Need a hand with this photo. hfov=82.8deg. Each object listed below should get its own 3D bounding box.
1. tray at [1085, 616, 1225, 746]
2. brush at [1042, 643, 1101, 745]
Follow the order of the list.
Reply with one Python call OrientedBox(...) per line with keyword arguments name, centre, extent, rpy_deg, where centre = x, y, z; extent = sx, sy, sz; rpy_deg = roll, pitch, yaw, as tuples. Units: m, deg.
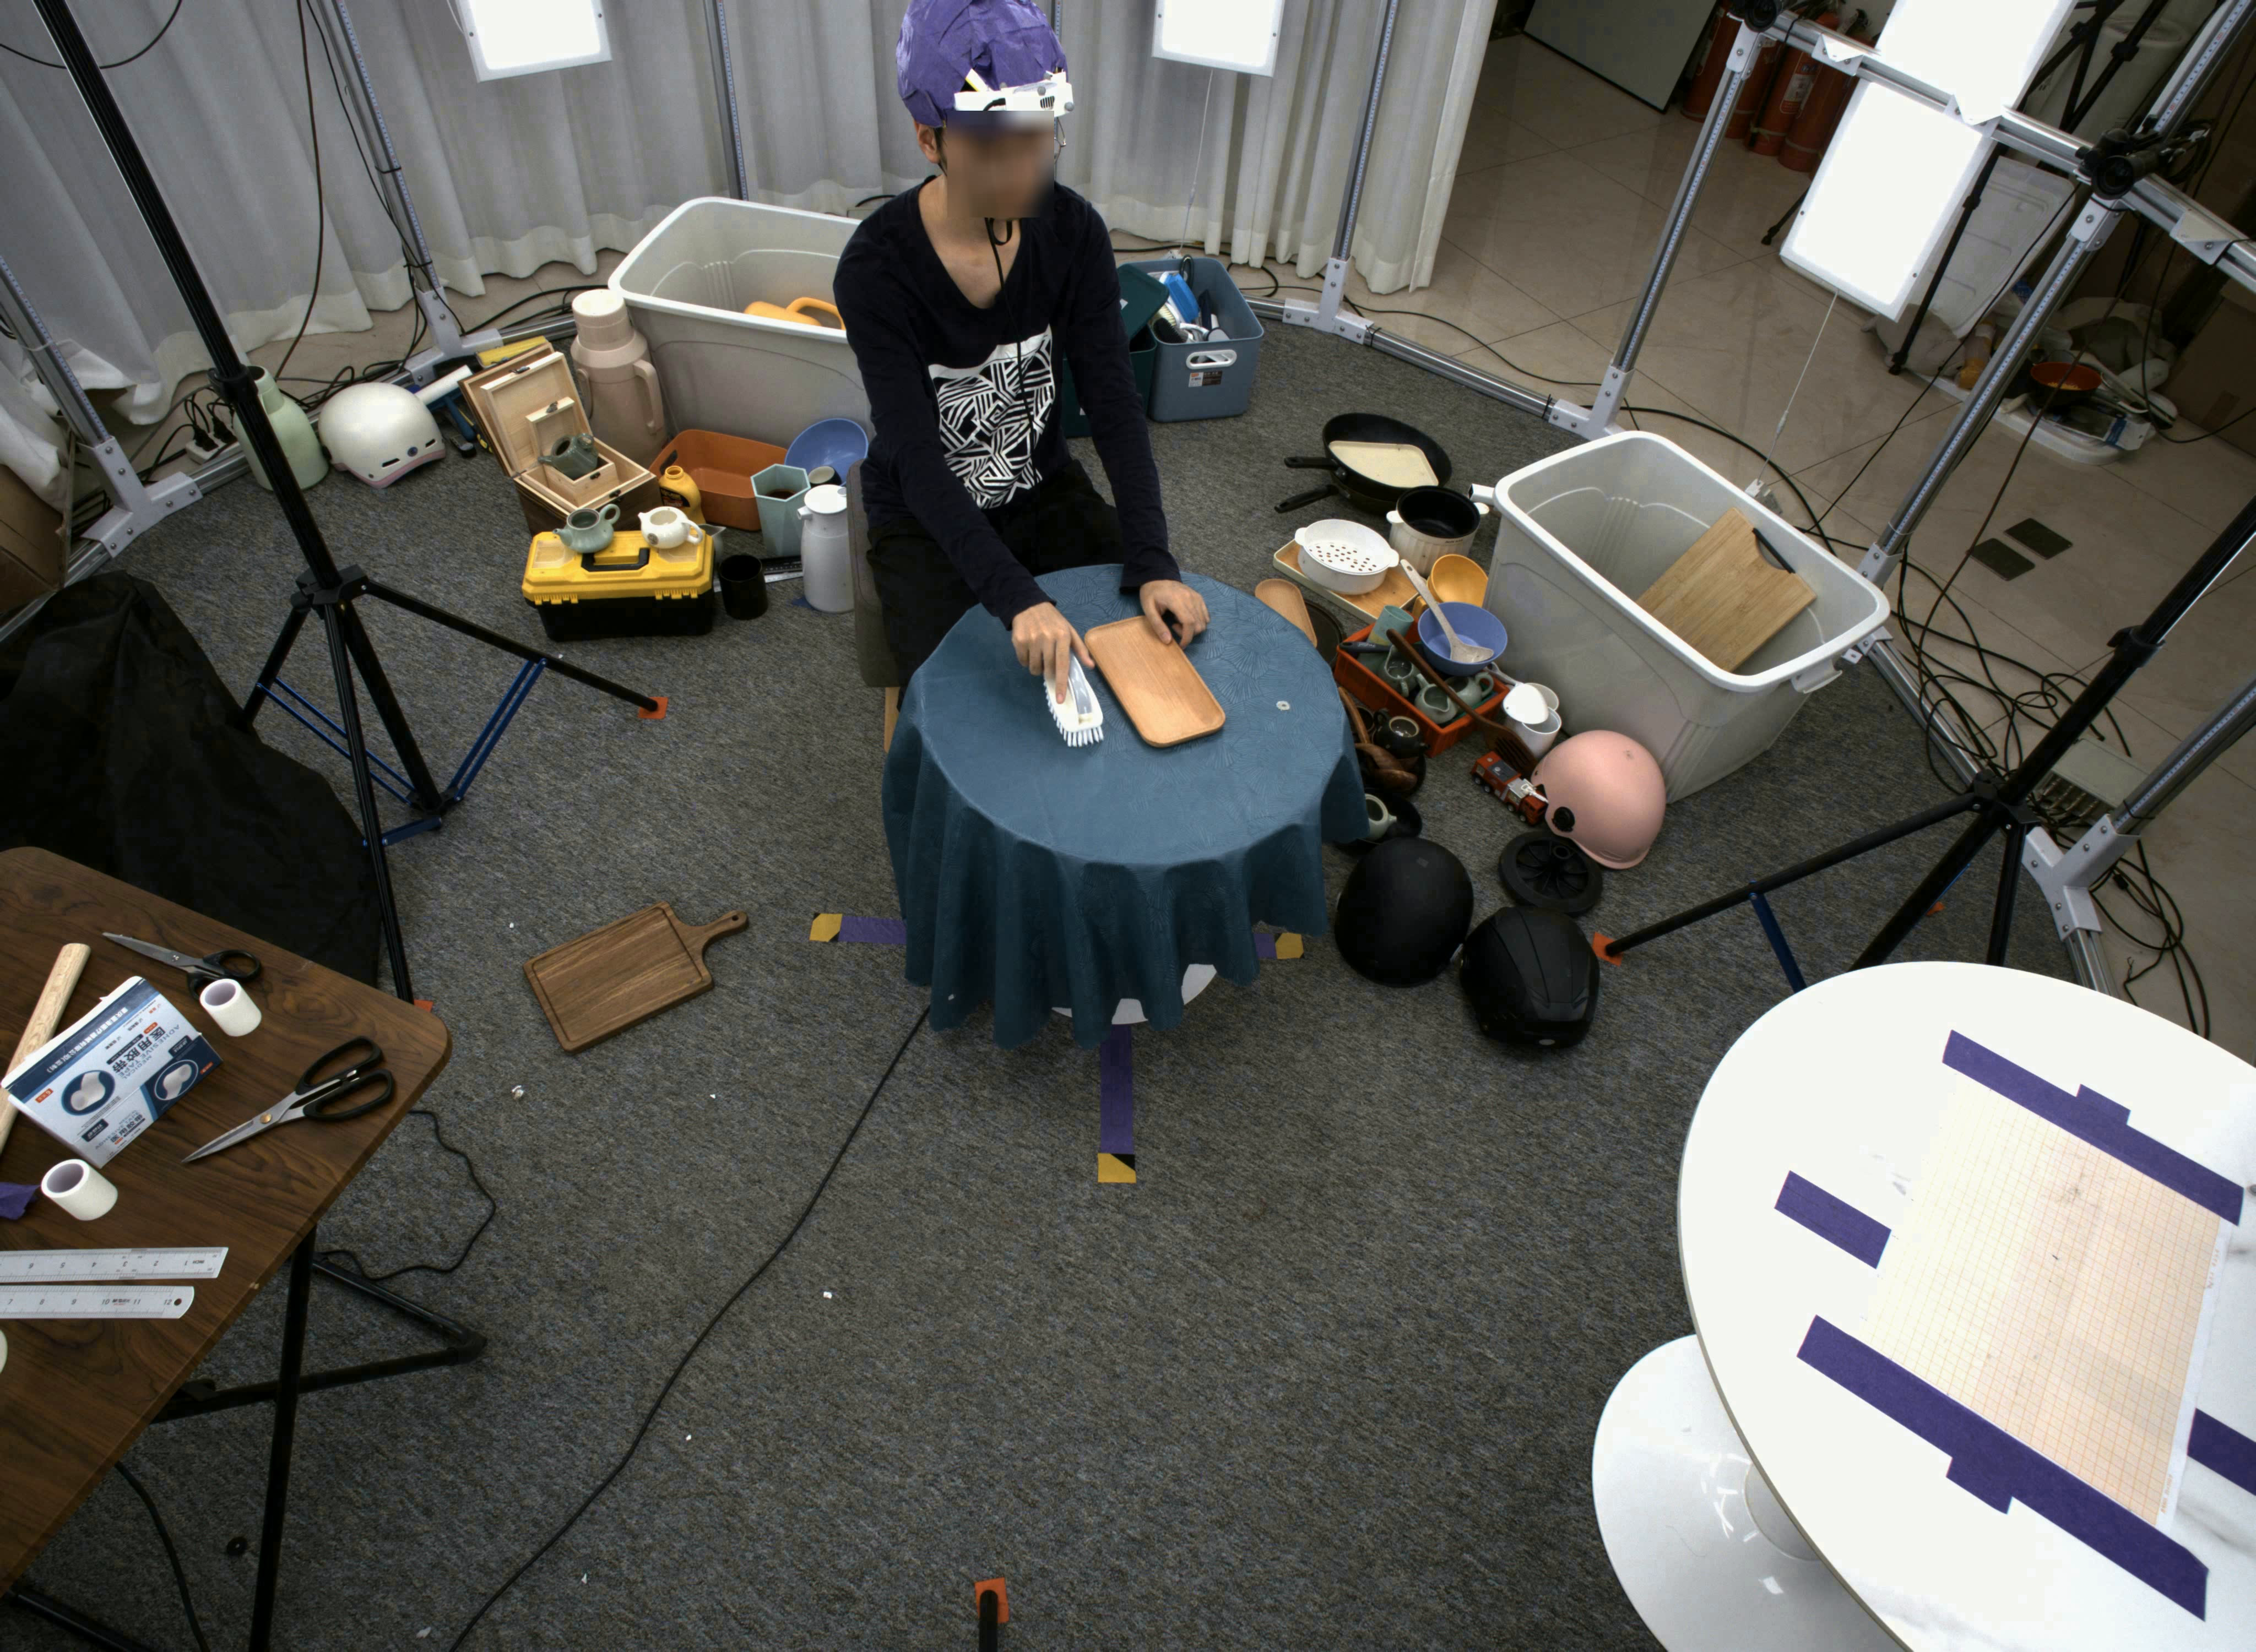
OrientedBox(name="tray", centre=(0.036, -0.211, 1.843), extent=(0.130, 0.022, 0.256), rpy_deg=(-14, 50, -18))
OrientedBox(name="brush", centre=(-0.086, -0.201, 1.778), extent=(0.061, 0.092, 0.180), rpy_deg=(-12, 48, -14))
